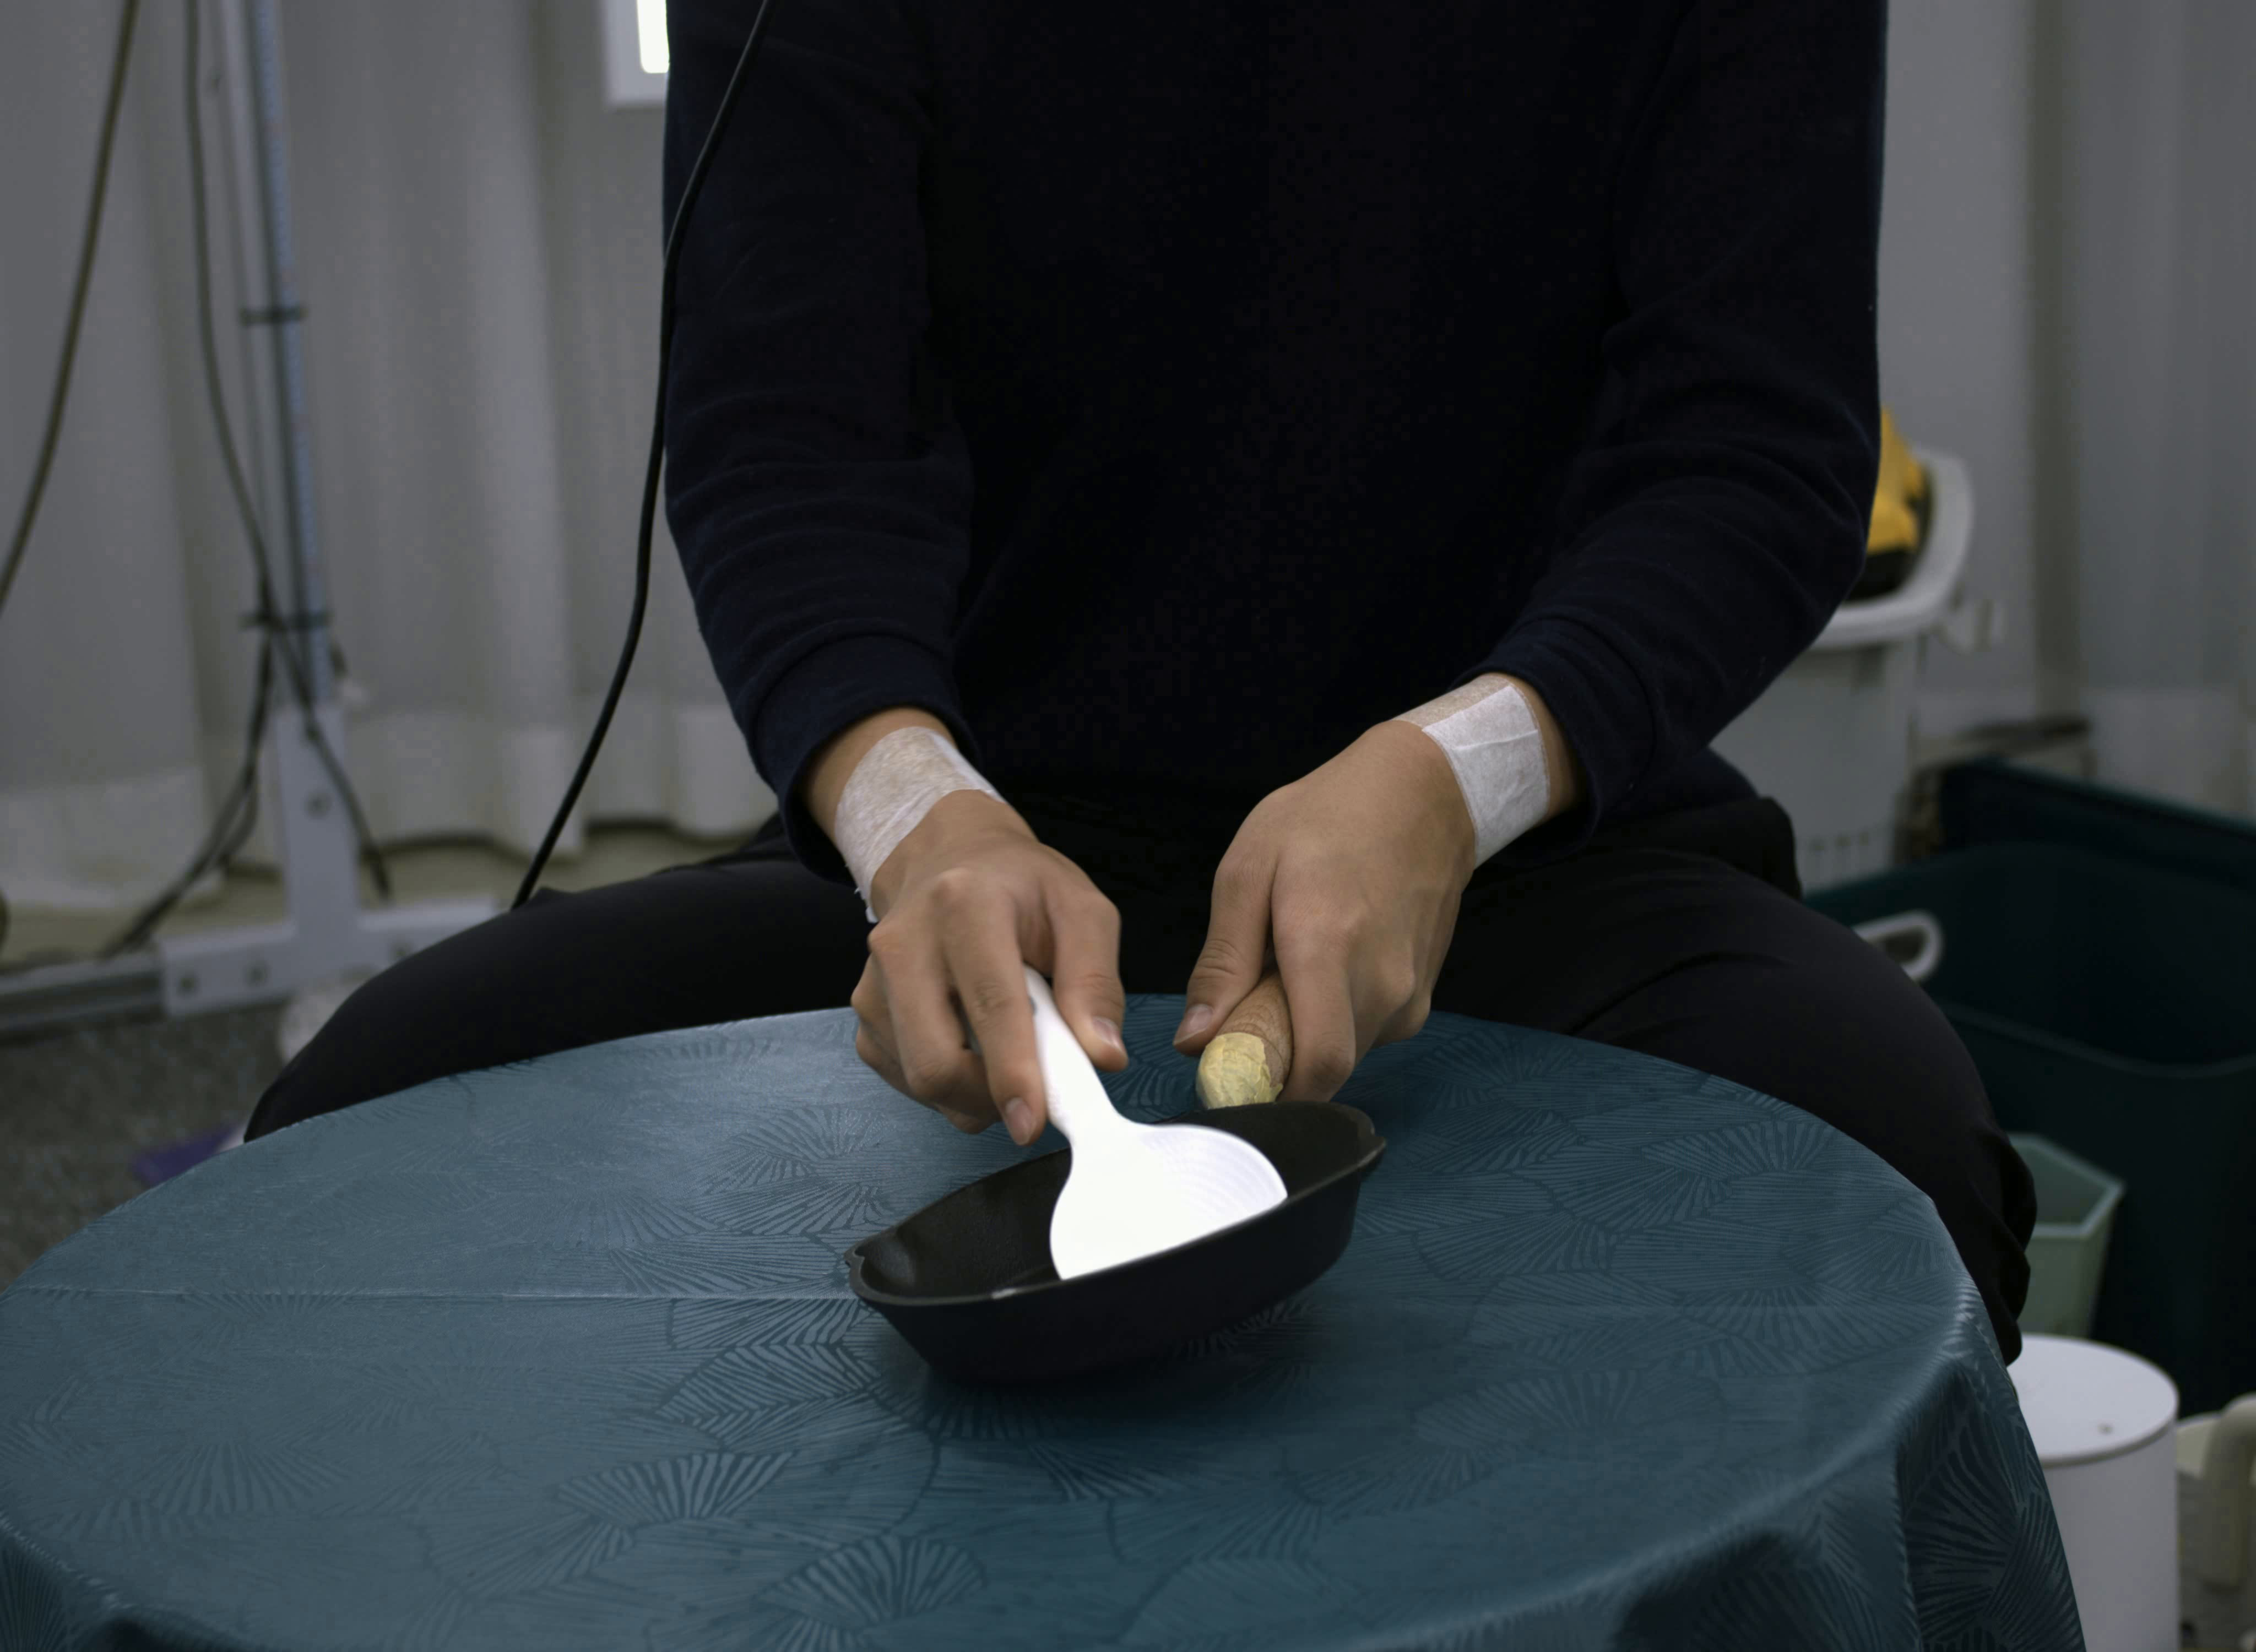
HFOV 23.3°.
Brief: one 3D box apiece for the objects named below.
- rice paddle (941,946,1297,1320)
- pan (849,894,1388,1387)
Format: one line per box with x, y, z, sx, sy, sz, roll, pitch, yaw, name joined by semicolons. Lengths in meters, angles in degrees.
-0.007;0.090;1.606;0.069;0.029;0.207;-29;31;-8;rice paddle
0.025;0.091;1.648;0.168;0.049;0.325;-11;13;23;pan
